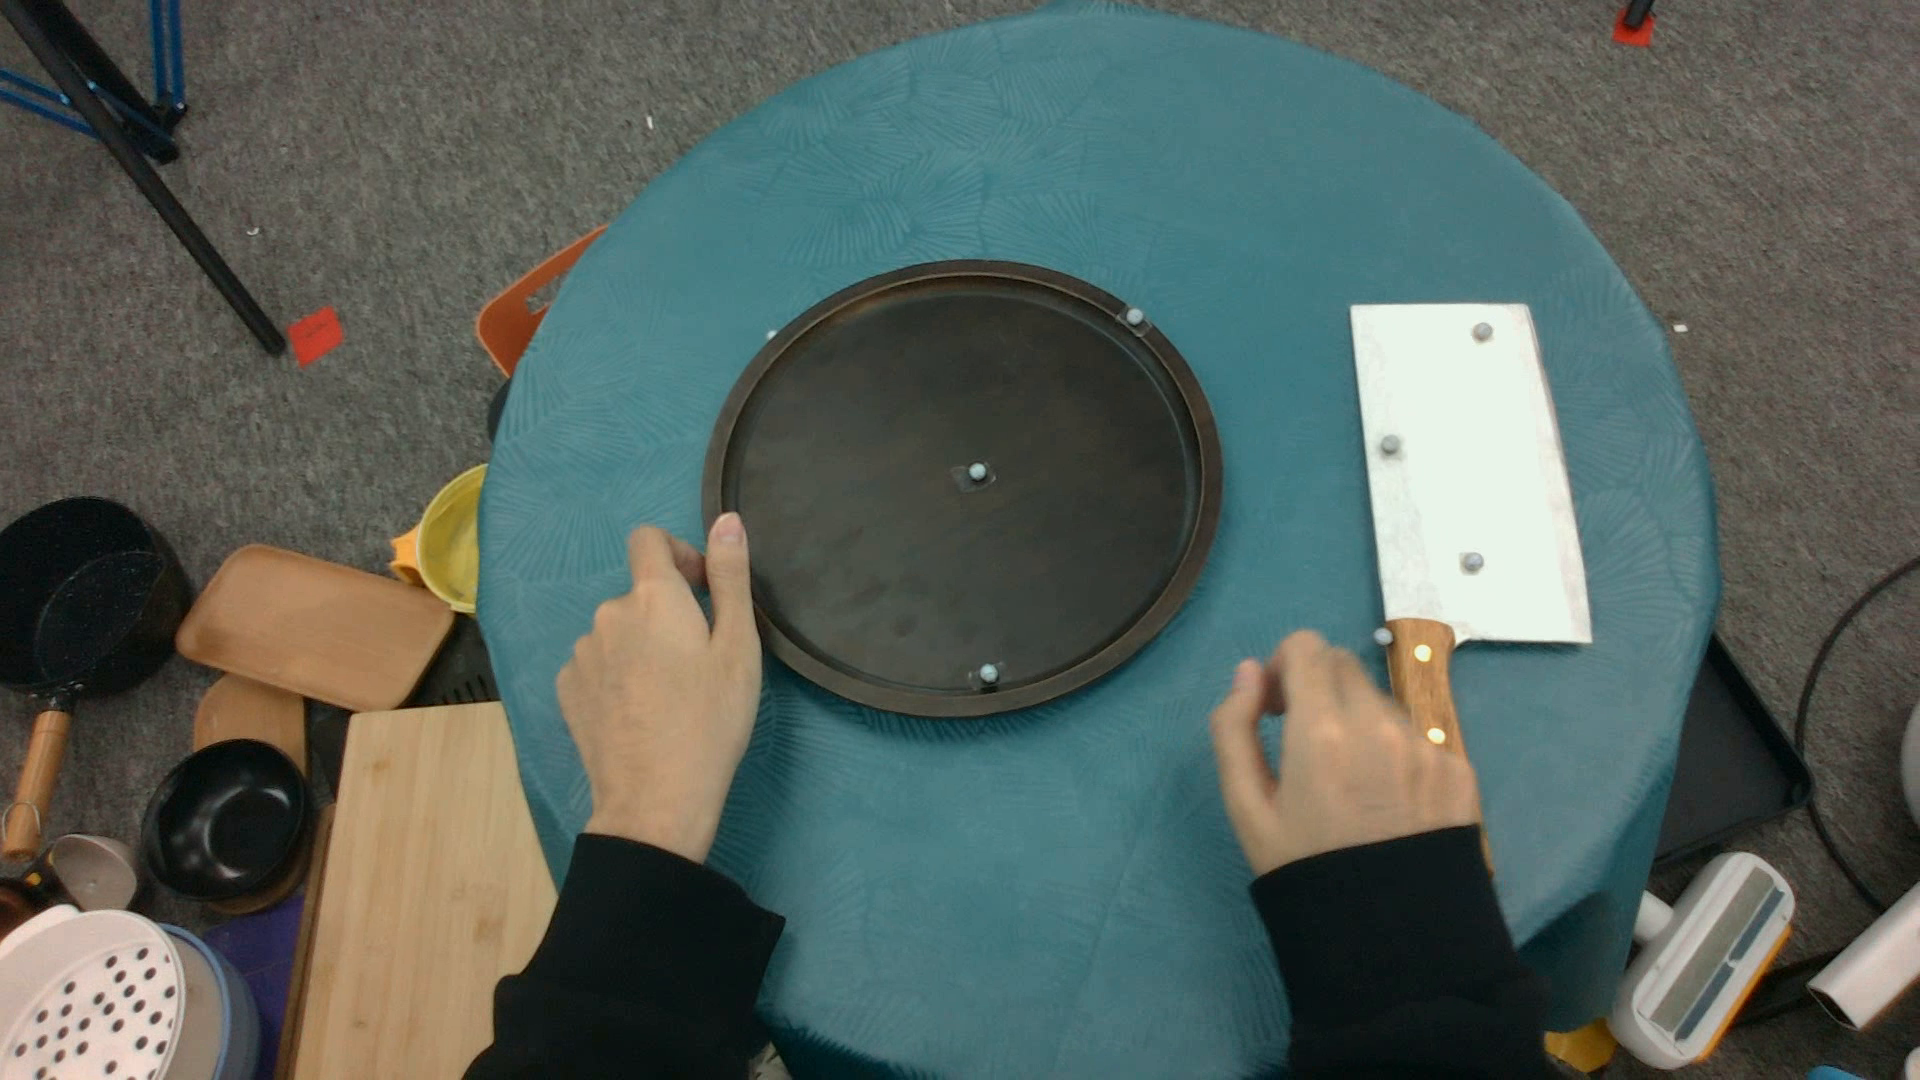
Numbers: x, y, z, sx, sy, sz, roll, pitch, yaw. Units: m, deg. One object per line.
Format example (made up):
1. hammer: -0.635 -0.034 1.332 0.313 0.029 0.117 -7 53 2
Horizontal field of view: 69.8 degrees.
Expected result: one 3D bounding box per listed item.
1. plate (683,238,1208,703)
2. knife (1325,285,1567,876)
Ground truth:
1. plate: -0.008 -0.040 0.668 0.255 0.029 0.256 -1 63 2
2. knife: 0.229 0.003 0.638 0.093 0.021 0.307 0 62 2
